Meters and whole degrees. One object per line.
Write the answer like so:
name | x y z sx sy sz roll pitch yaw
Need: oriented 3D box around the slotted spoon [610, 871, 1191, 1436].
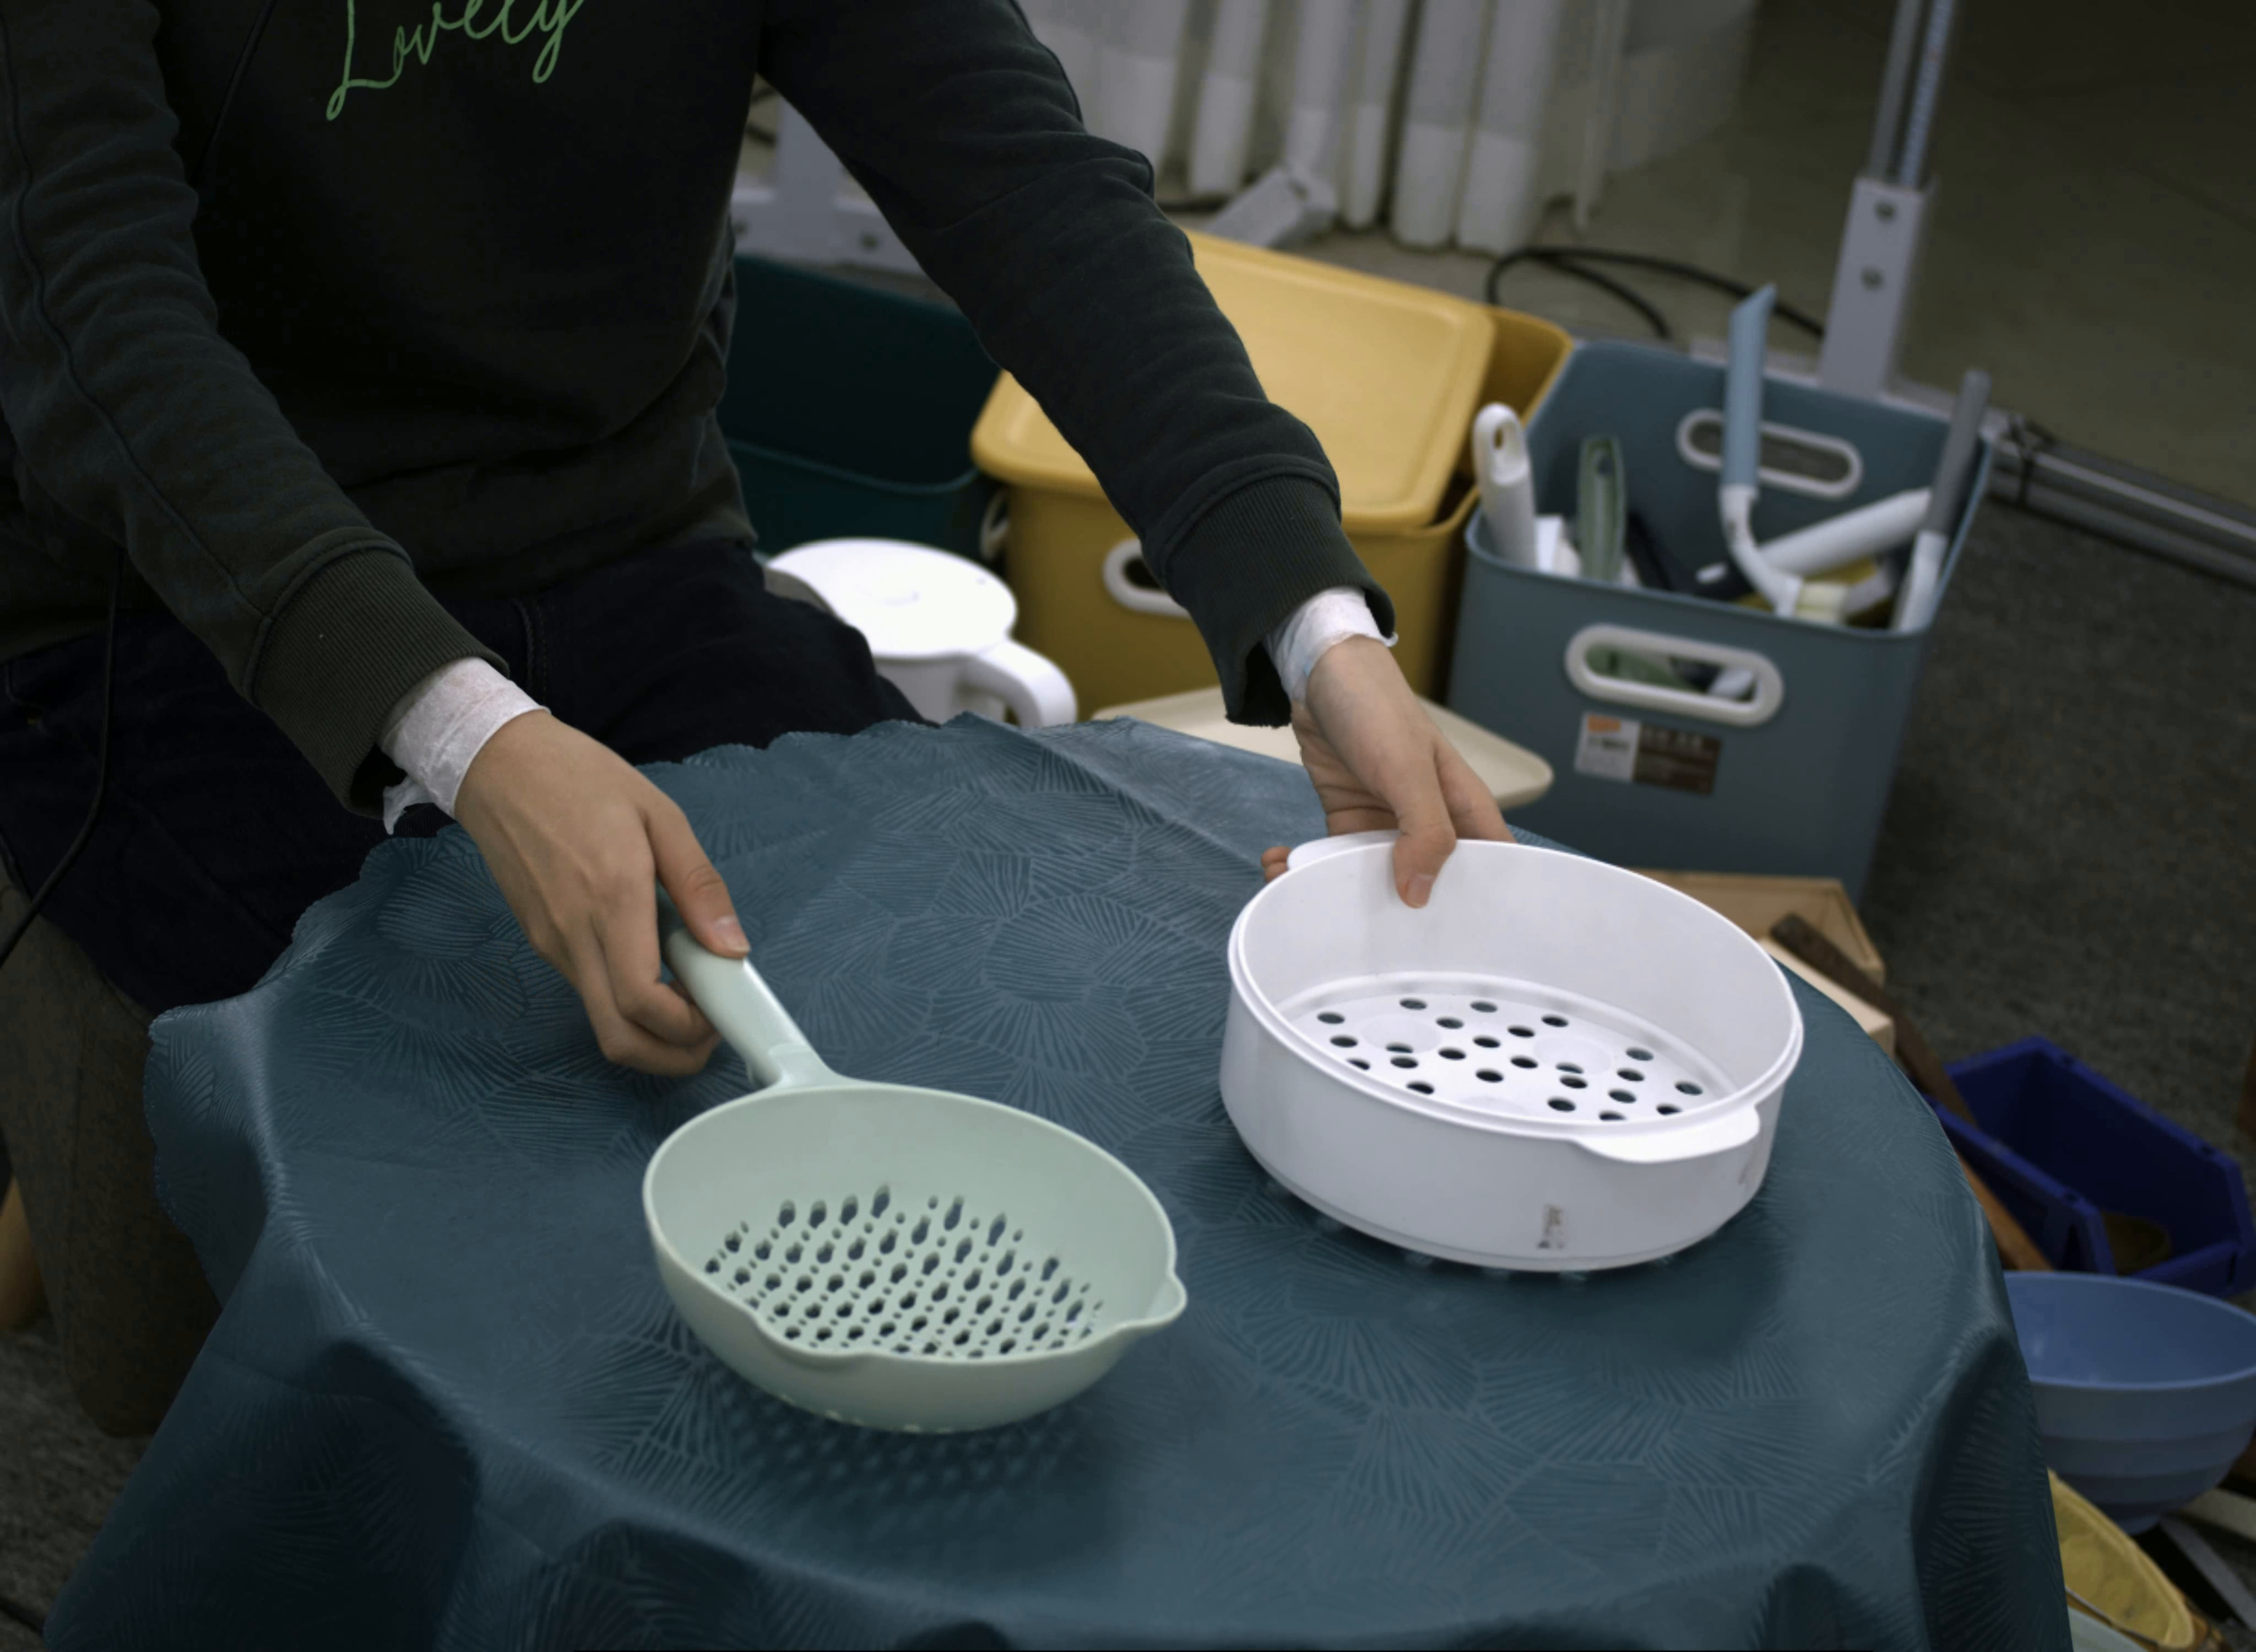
slotted spoon | -0.108 0.091 1.747 0.168 0.075 0.362 -3 34 -24

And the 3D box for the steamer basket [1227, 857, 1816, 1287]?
steamer basket | 0.133 0.086 1.836 0.200 0.069 0.232 -7 29 -29
